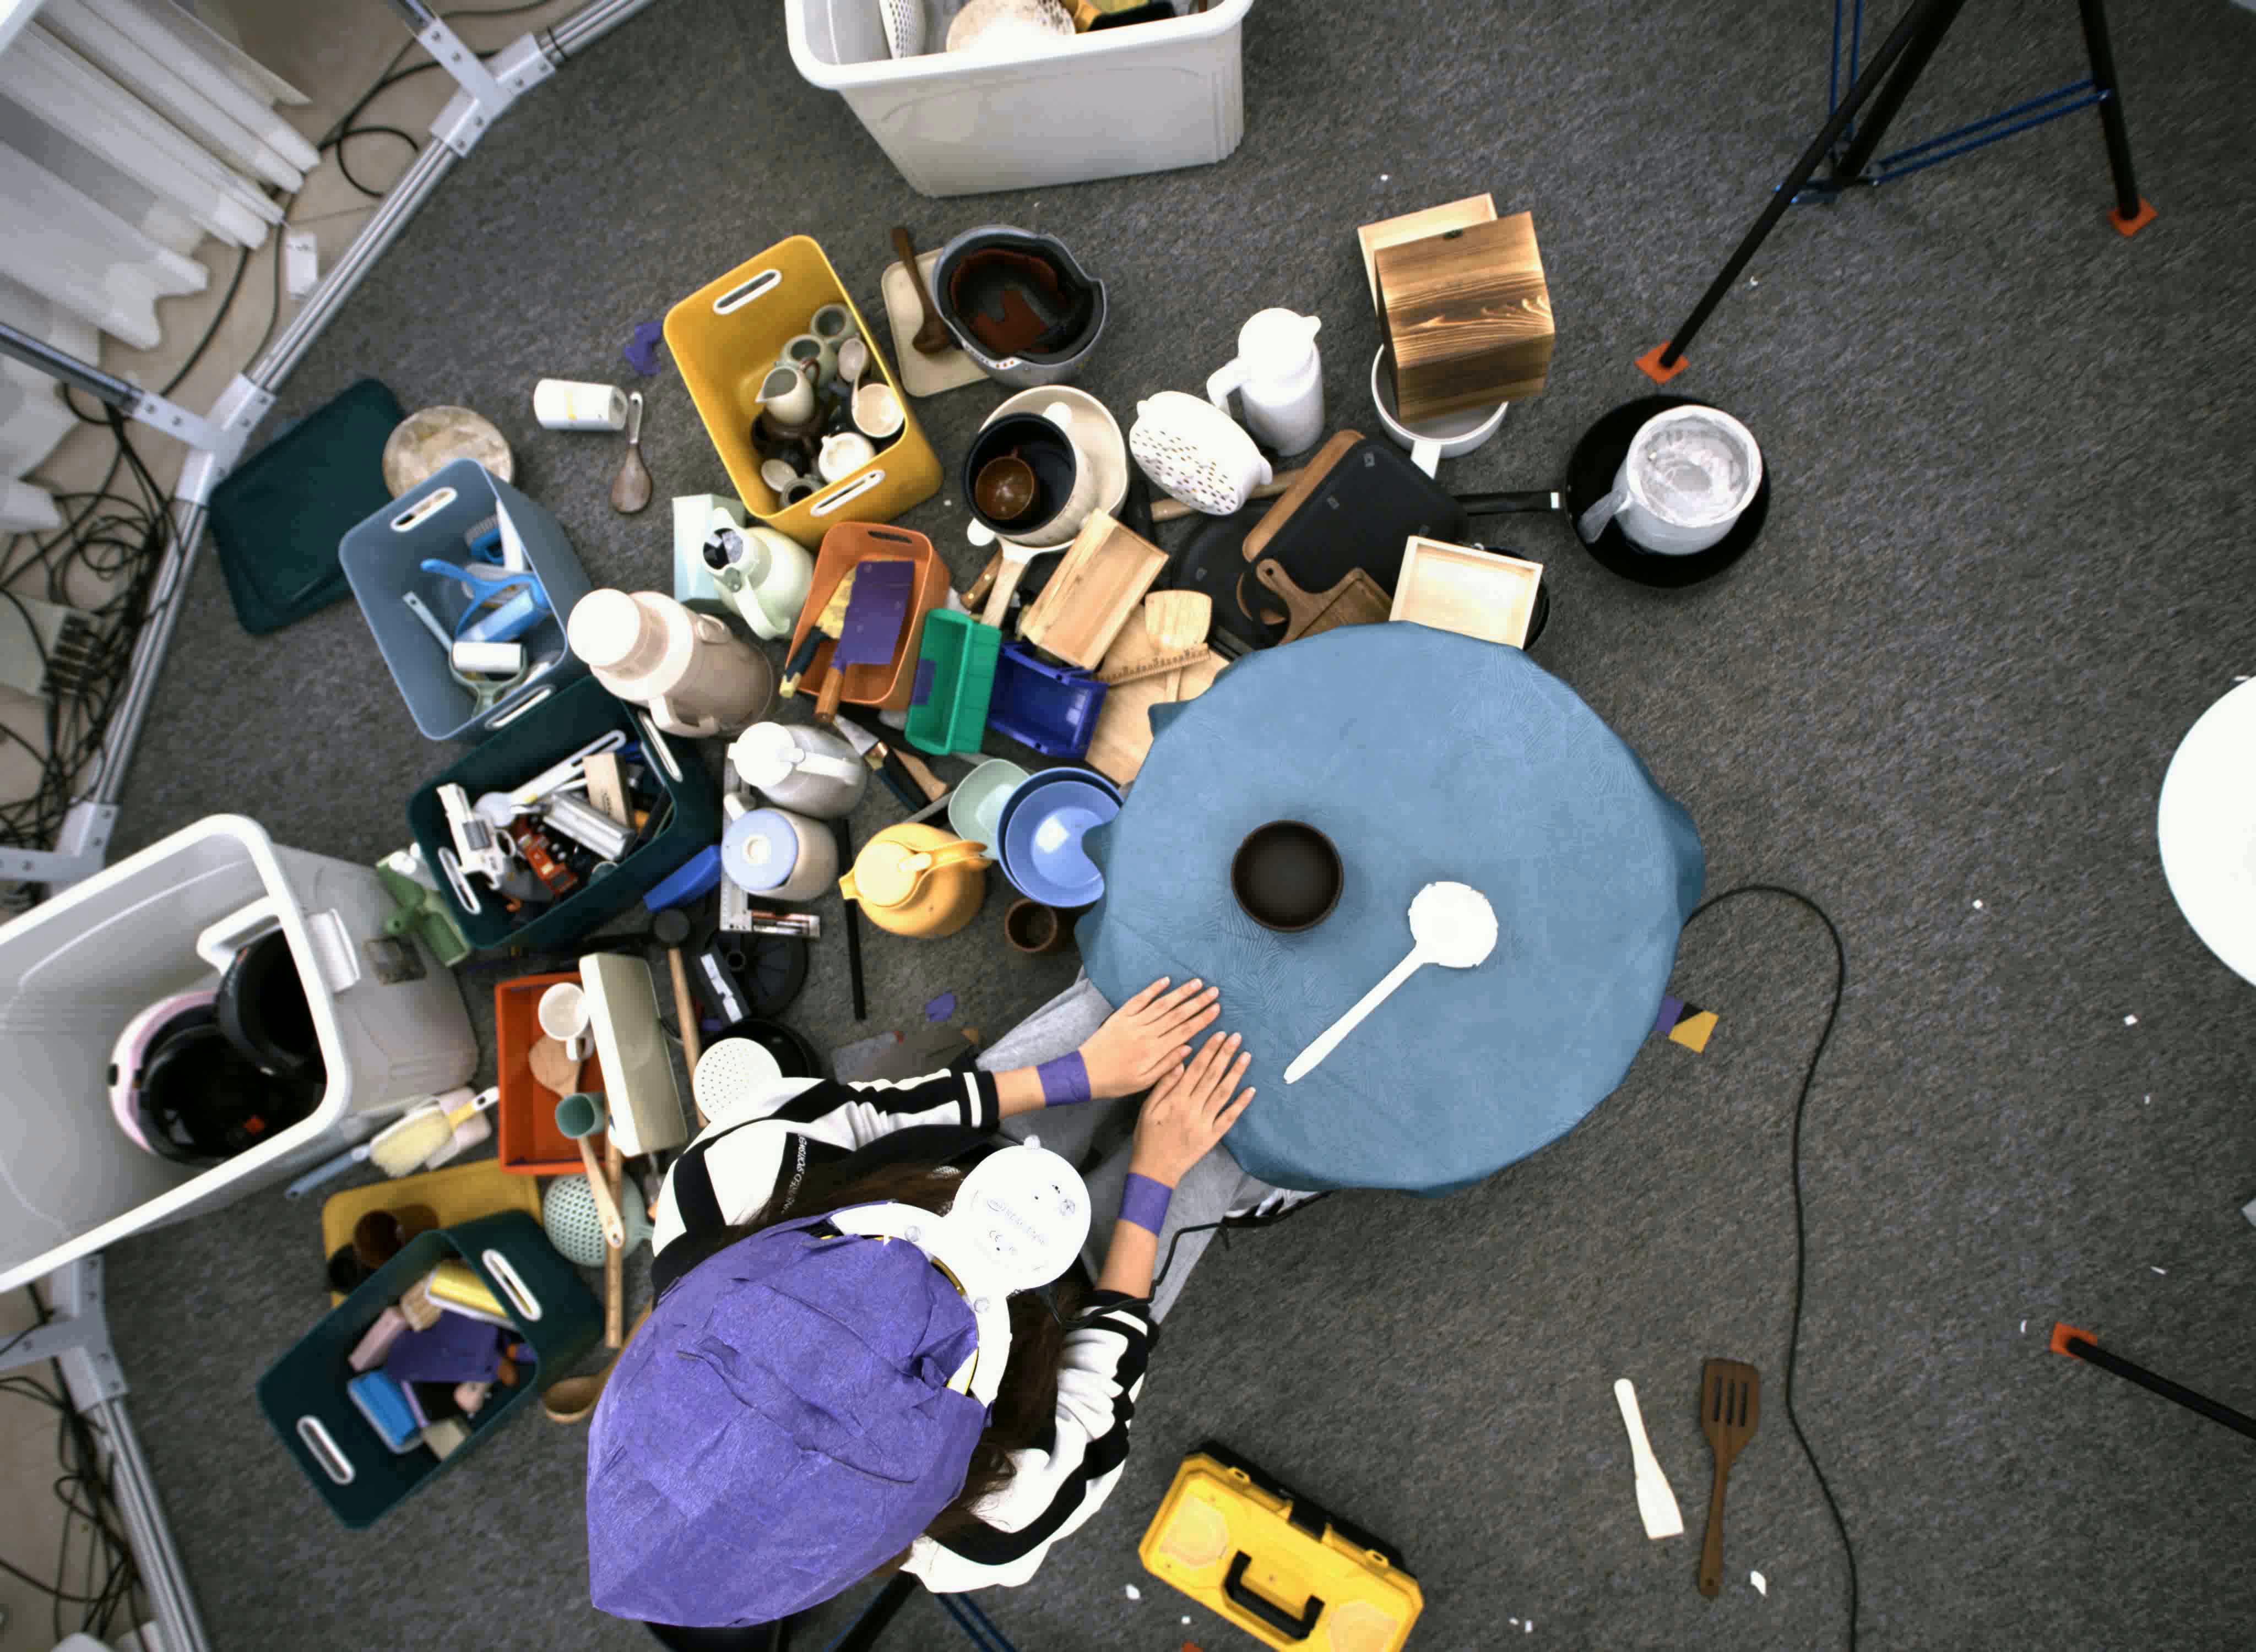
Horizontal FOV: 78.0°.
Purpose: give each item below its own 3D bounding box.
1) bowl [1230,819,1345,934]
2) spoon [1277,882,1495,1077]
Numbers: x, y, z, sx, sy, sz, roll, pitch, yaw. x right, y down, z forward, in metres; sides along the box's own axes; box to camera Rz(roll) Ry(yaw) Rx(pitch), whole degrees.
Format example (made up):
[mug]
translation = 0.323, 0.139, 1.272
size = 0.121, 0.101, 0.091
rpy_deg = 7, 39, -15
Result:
[bowl]
translation = 0.167, 0.054, 1.443
size = 0.118, 0.070, 0.117
rpy_deg = -1, 86, 10
[spoon]
translation = 0.256, 0.163, 1.429
size = 0.279, 0.059, 0.100
rpy_deg = -41, 77, 6
